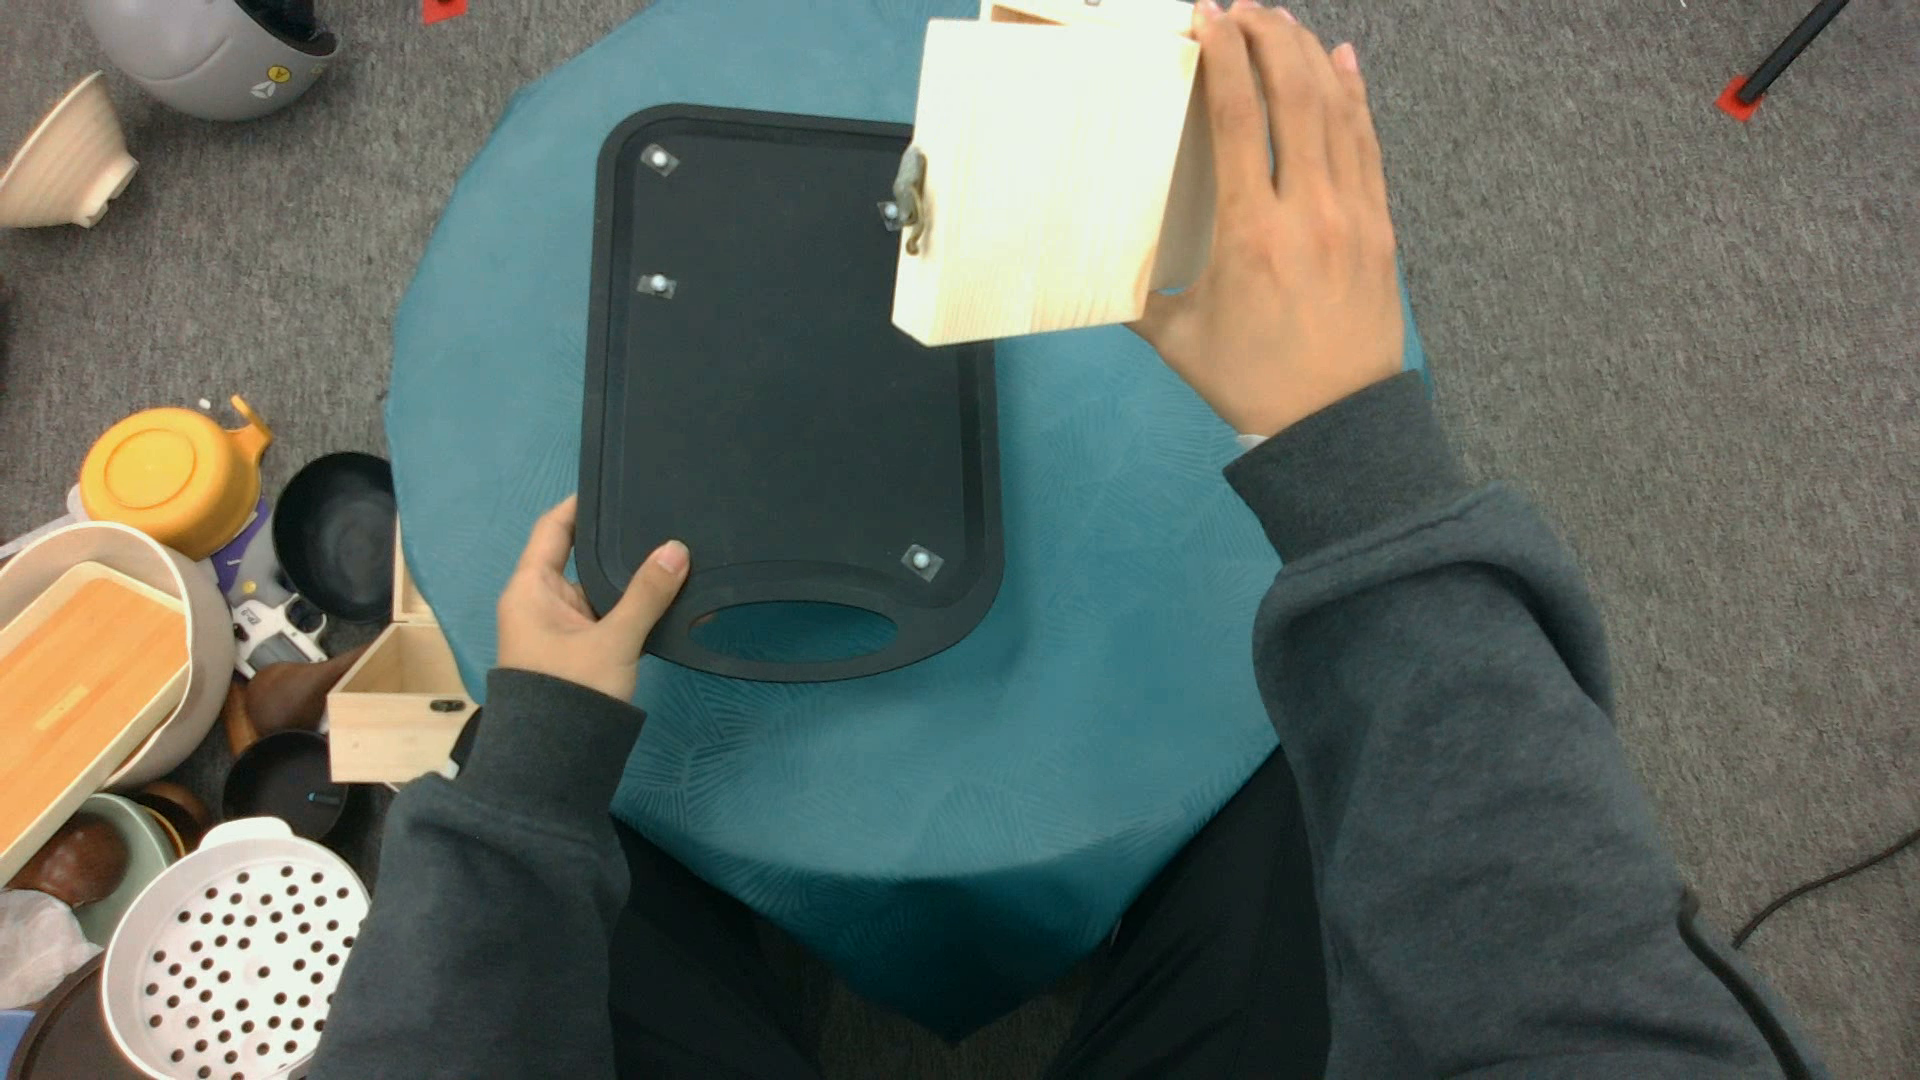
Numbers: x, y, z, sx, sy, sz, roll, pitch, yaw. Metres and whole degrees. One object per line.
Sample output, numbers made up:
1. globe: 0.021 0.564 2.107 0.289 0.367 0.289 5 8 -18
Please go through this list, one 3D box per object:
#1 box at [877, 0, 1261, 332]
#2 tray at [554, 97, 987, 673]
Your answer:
1. box: 0.020 -0.161 0.544 0.185 0.102 0.134 -16 36 -38
2. tray: -0.092 -0.090 0.705 0.211 0.010 0.326 2 68 -11
